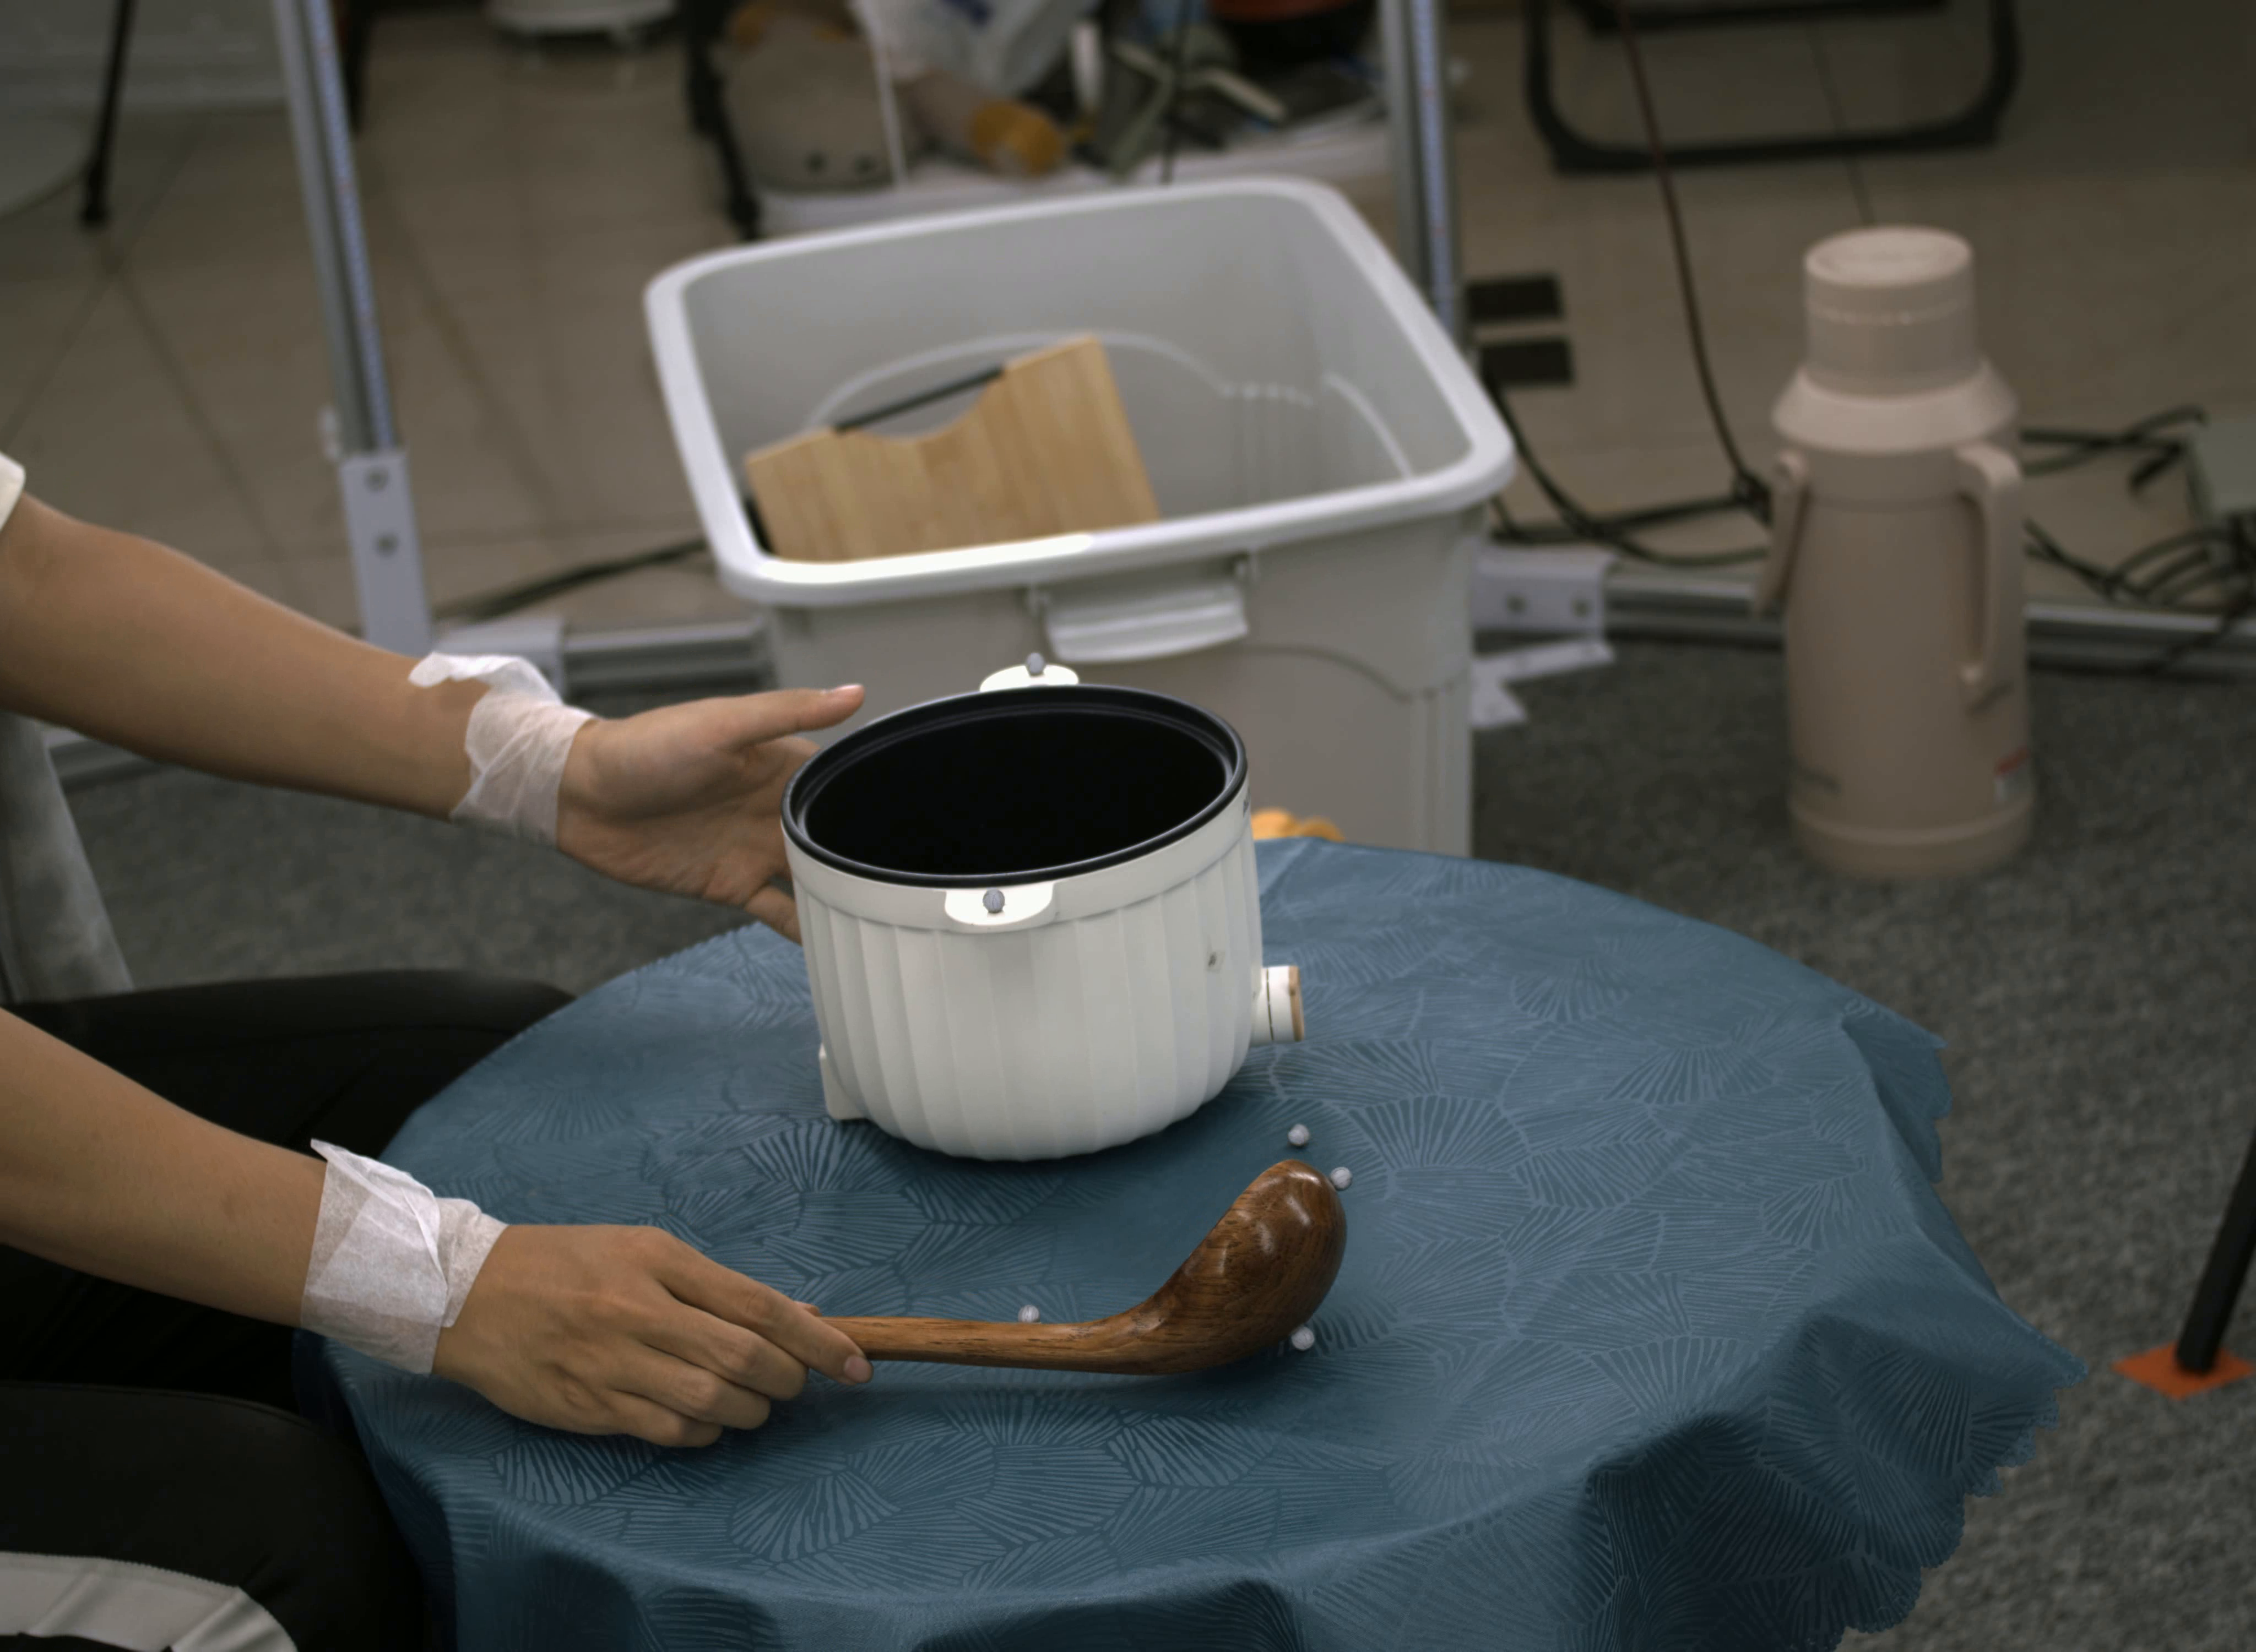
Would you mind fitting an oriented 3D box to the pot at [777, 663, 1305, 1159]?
[{"bbox_3d":[-0.032,0.040,2.205,0.190,0.145,0.237,-8,26,6],"label":"pot"}]

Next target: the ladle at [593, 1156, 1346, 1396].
[{"bbox_3d":[-0.058,0.161,2.032,0.273,0.083,0.075,-3,62,13],"label":"ladle"}]
